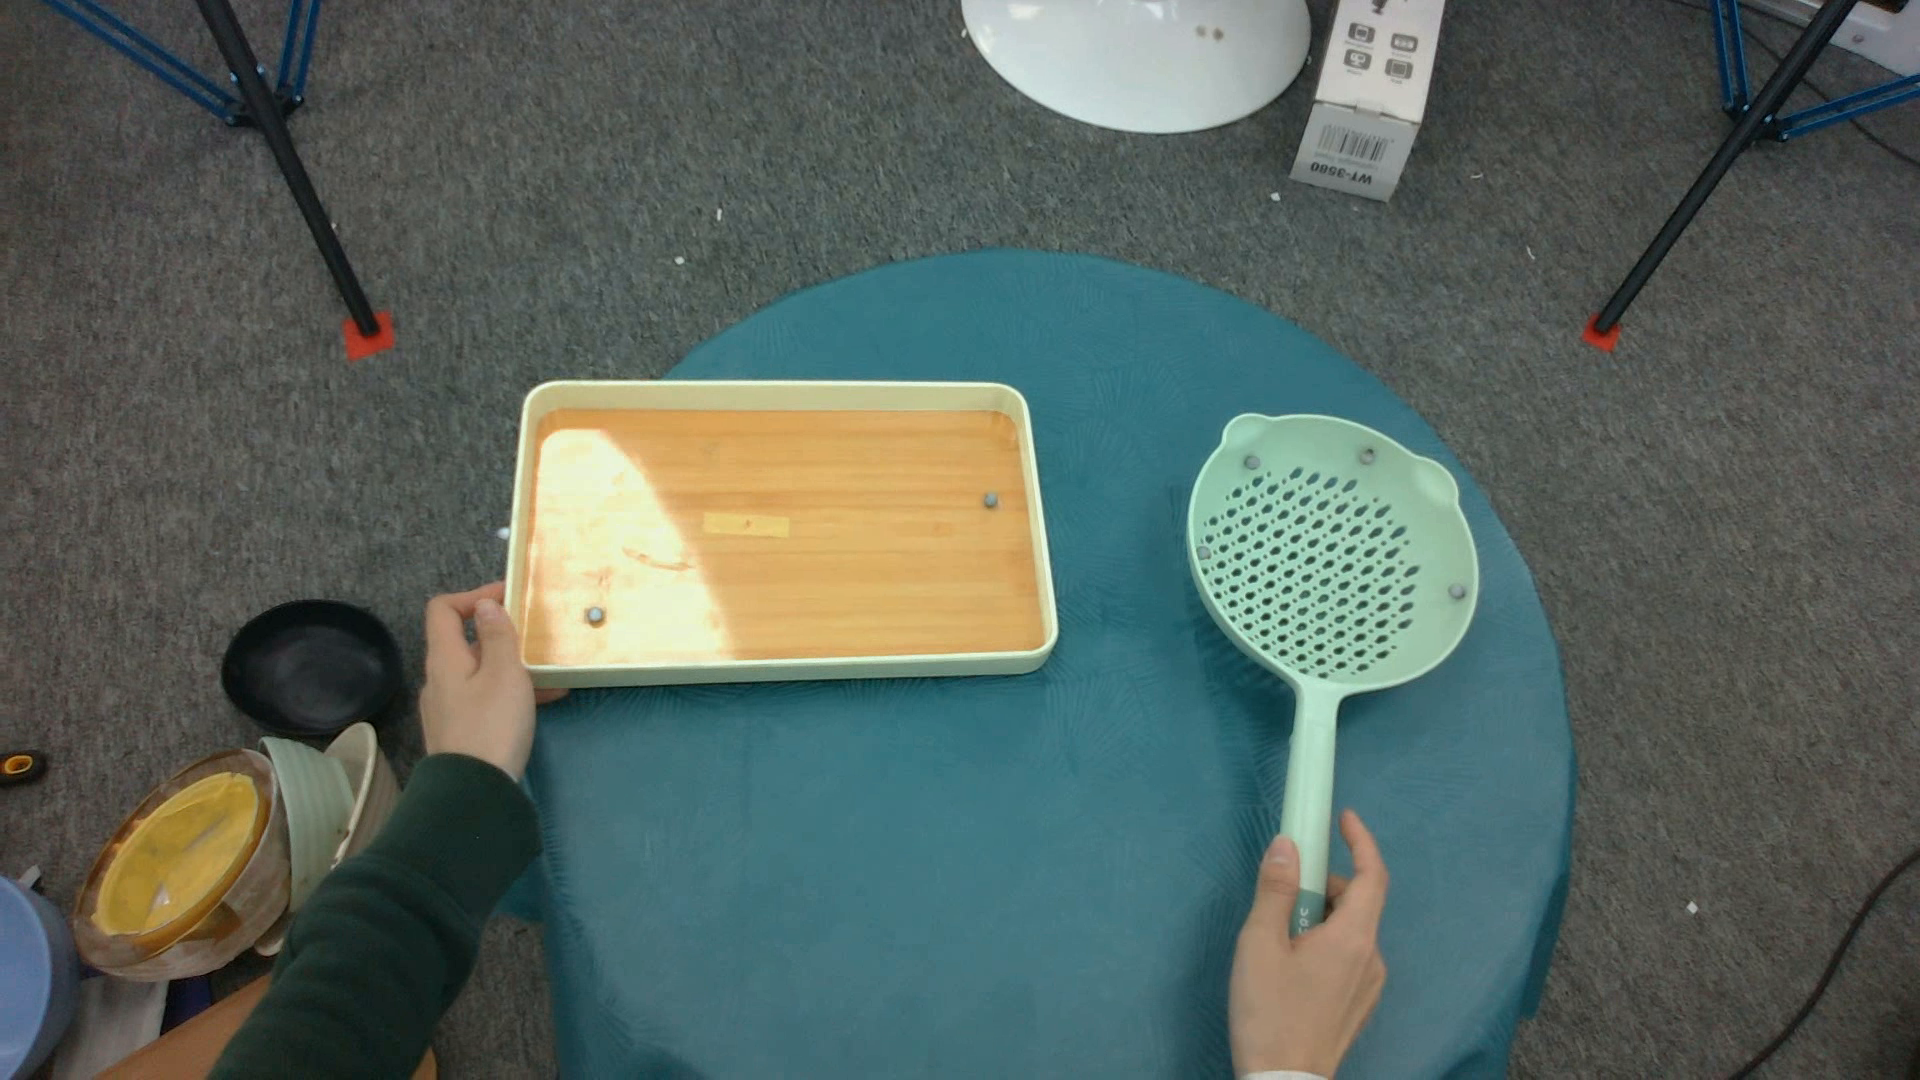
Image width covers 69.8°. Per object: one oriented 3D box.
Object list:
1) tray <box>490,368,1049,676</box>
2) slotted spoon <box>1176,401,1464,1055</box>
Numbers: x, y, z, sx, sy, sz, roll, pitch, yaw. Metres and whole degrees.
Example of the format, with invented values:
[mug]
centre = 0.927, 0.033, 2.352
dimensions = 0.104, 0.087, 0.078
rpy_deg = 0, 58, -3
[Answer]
[tray]
centre = -0.106, -0.015, 0.791
dimensions = 0.300, 0.027, 0.192
rpy_deg = -1, 59, -9
[slotted spoon]
centre = 0.182, 0.085, 0.738
dimensions = 0.169, 0.075, 0.360
rpy_deg = 14, 55, -2
